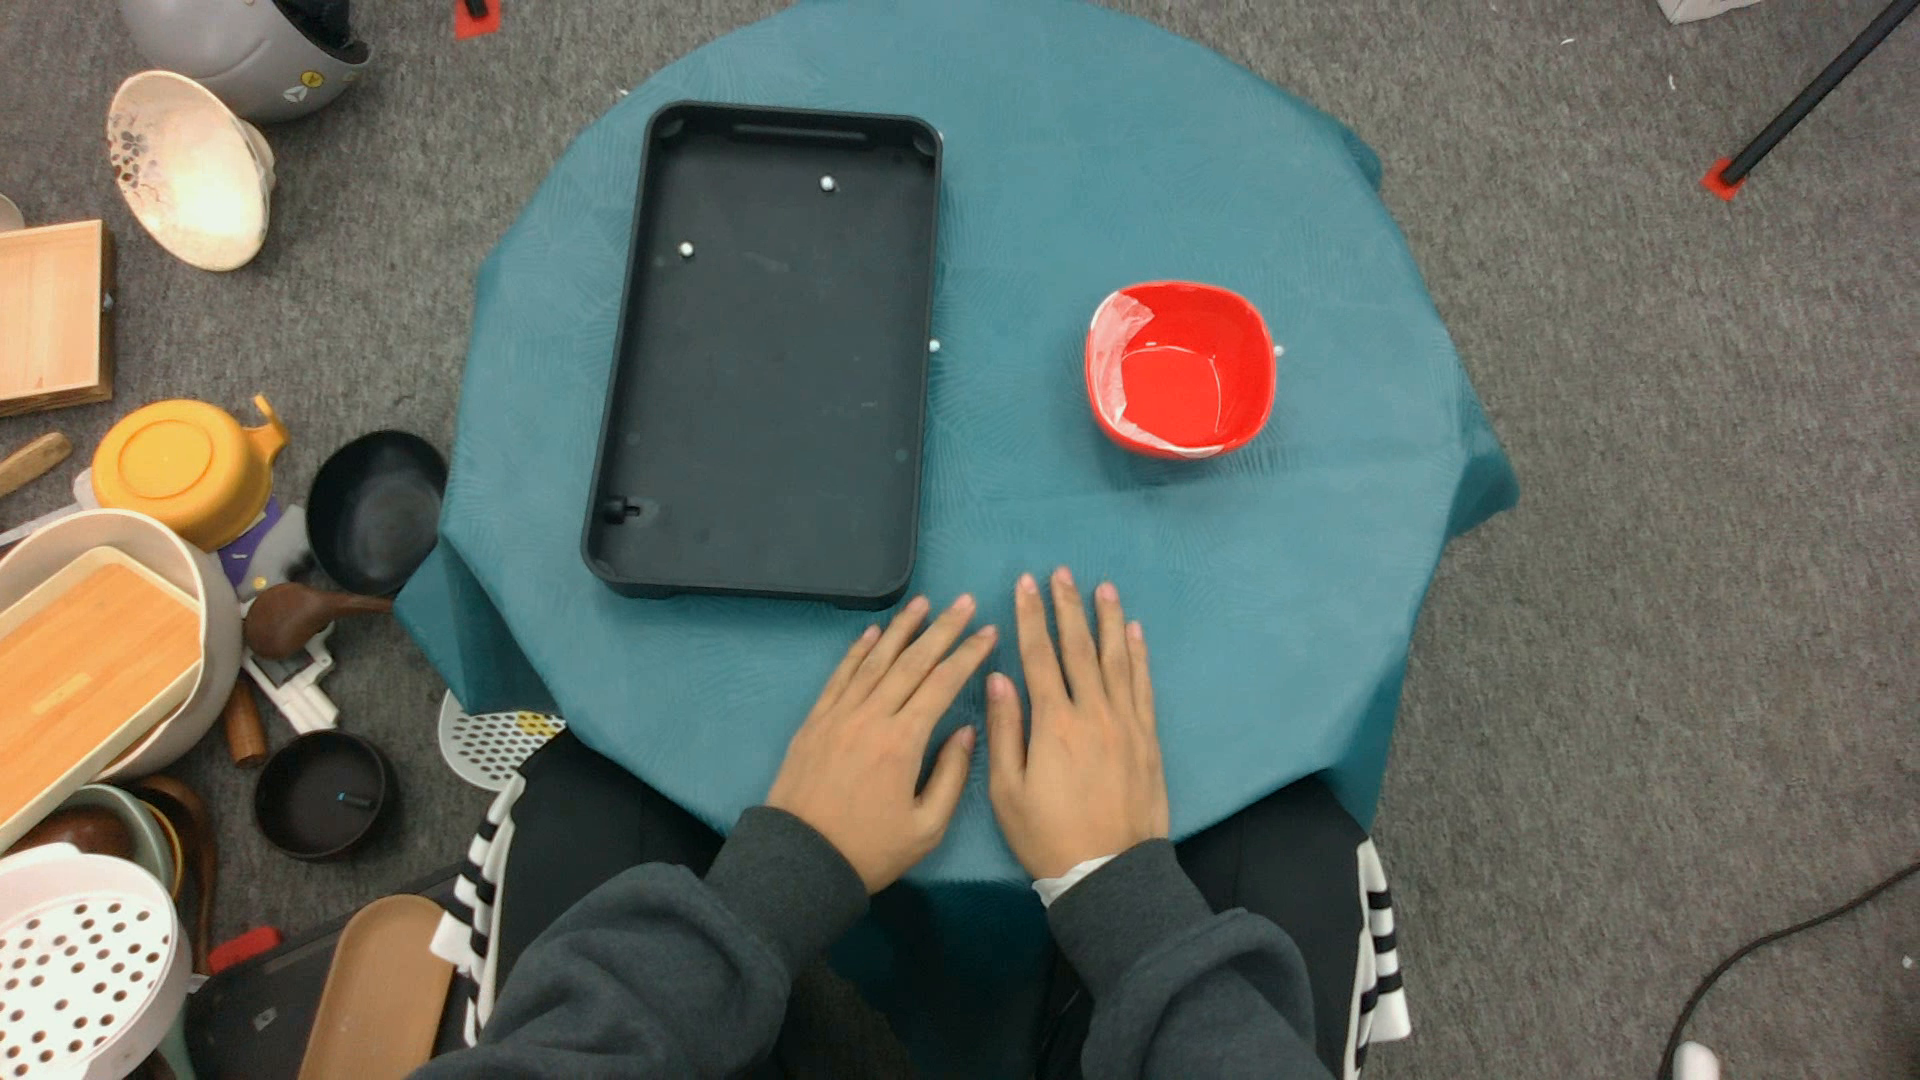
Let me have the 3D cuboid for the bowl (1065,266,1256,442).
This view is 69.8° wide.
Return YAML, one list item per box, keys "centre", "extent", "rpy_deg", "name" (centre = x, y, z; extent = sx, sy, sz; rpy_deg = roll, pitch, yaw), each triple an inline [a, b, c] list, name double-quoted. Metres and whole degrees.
- centre: [0.113, -0.101, 0.810]
  extent: [0.119, 0.051, 0.119]
  rpy_deg: [2, 67, -4]
  name: "bowl"

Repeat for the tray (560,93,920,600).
- centre: [-0.121, -0.121, 0.813]
  extent: [0.184, 0.037, 0.319]
  rpy_deg: [3, 68, -2]
  name: "tray"
